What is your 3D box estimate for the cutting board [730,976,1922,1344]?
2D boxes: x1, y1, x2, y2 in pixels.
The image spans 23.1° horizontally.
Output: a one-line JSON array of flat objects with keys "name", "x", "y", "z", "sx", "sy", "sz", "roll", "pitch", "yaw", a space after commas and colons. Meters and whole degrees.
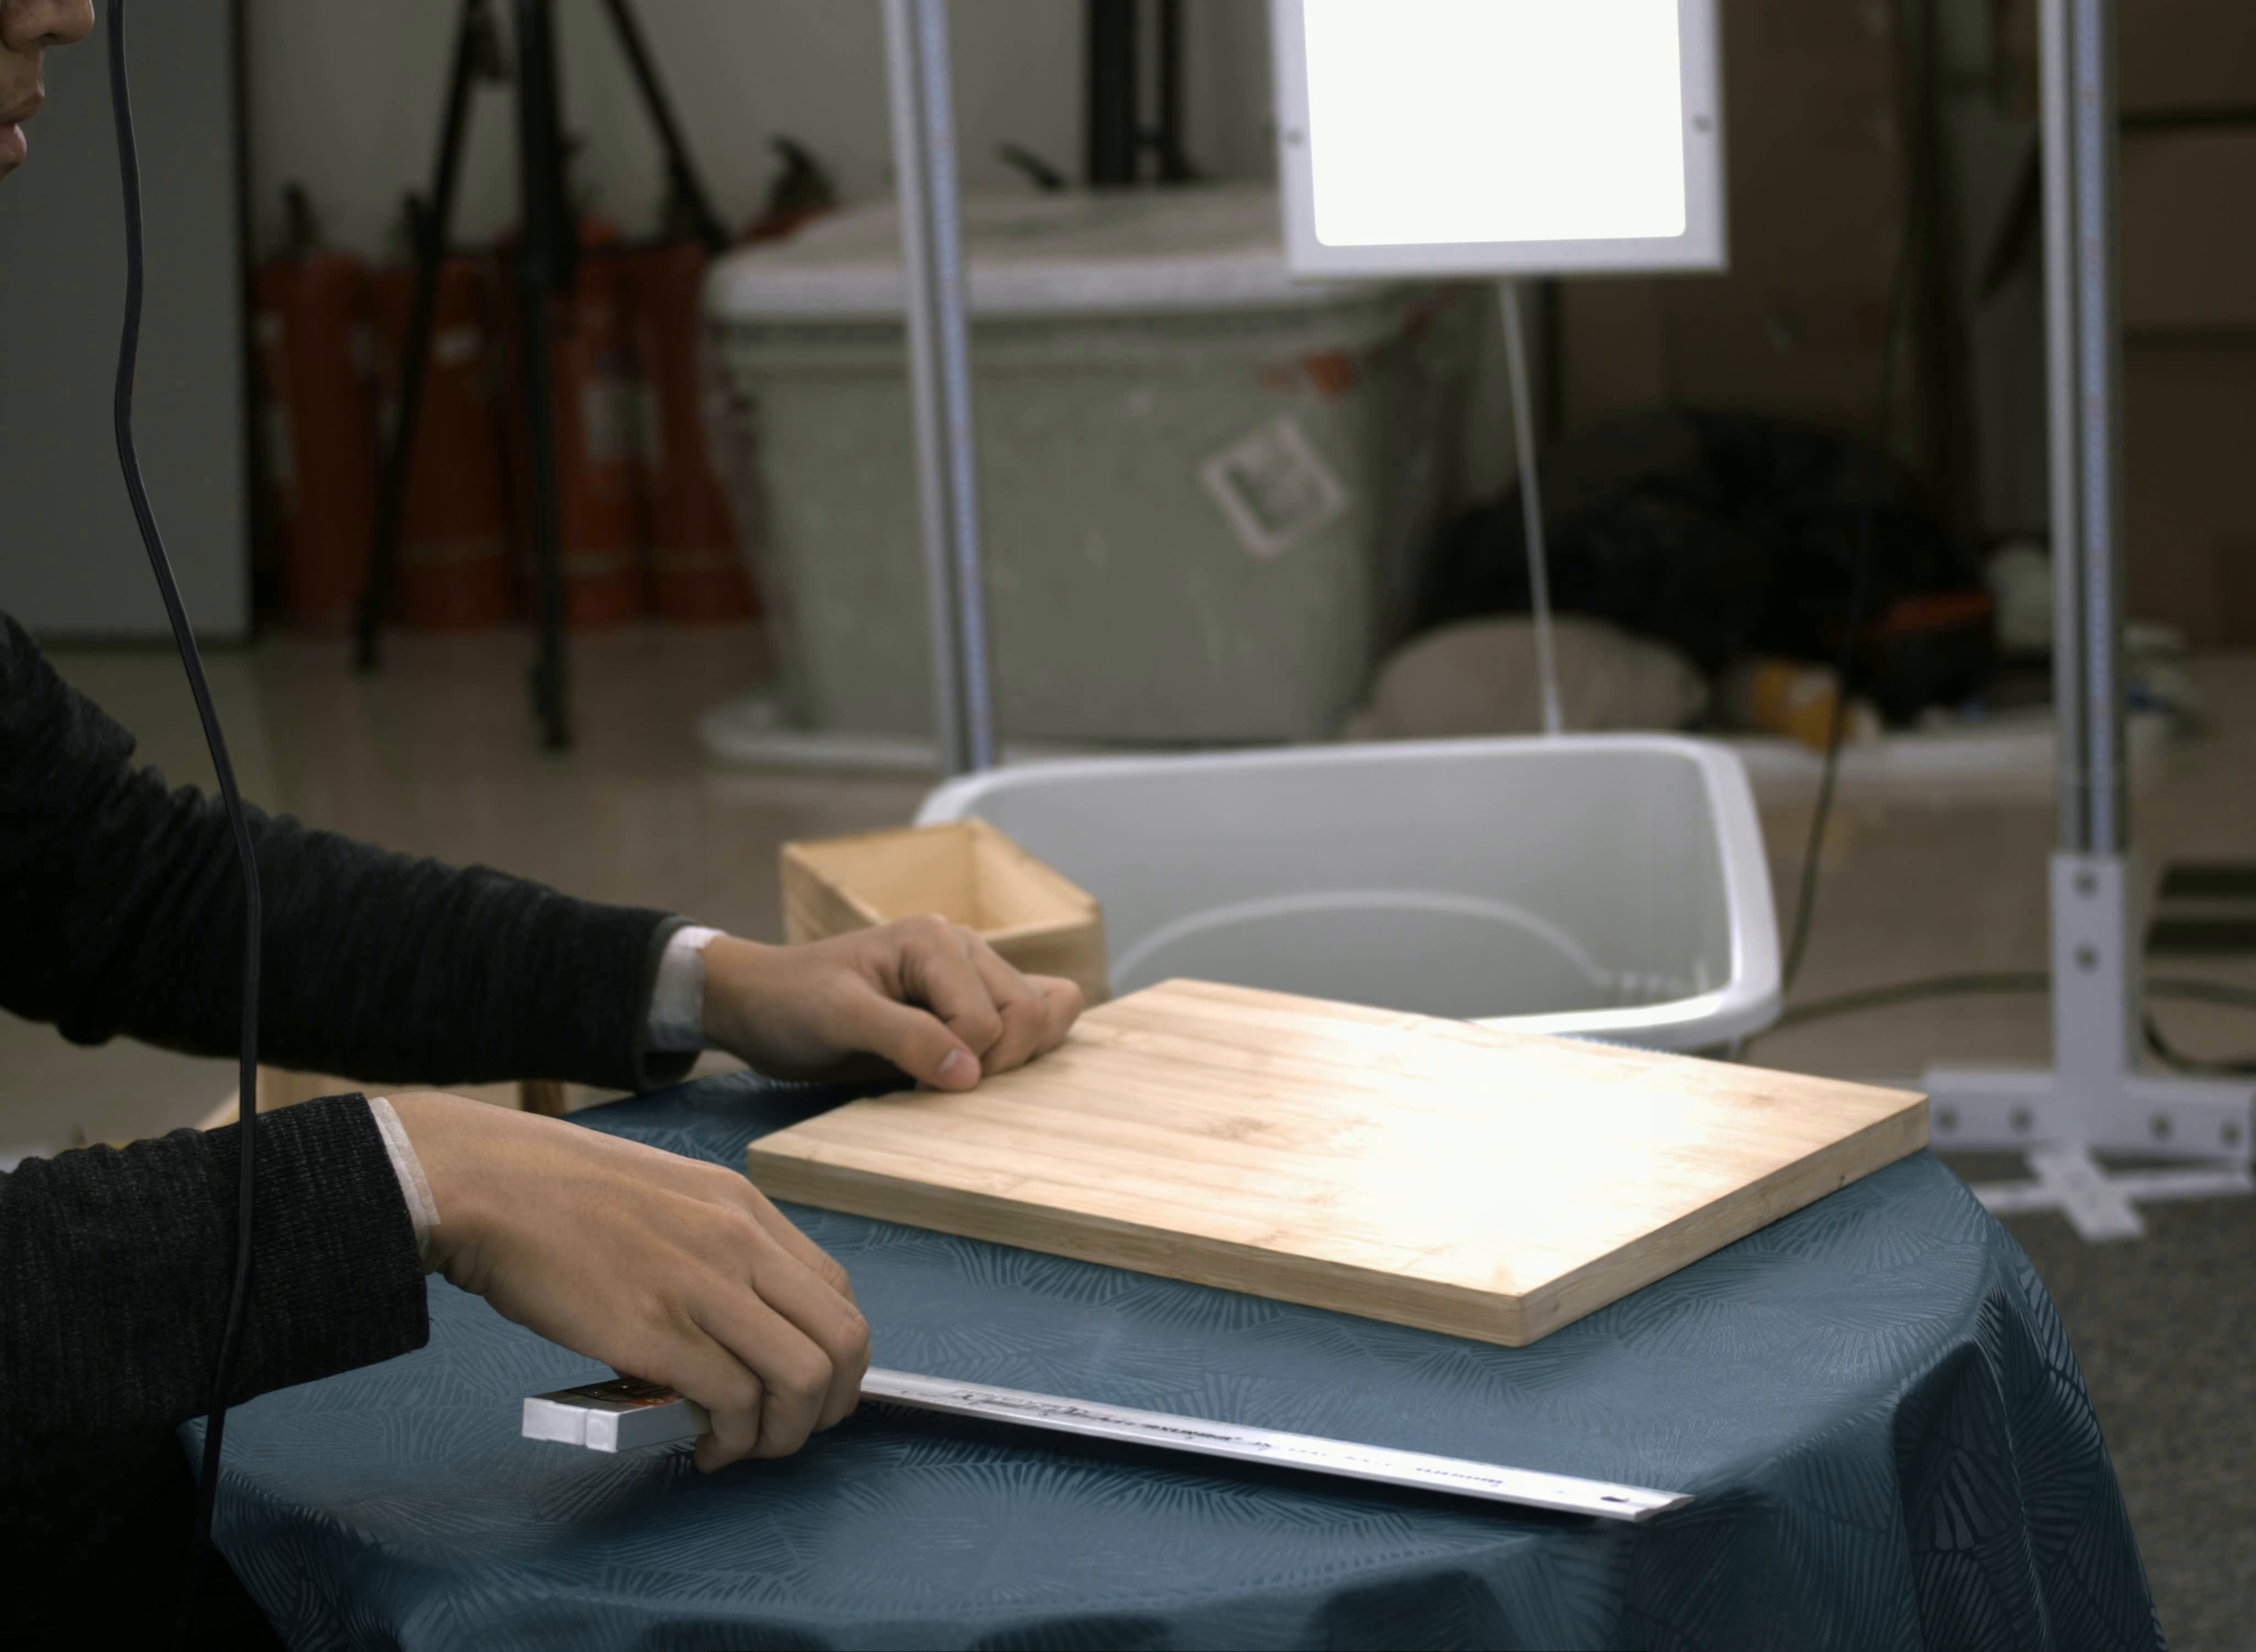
[{"name": "cutting board", "x": 0.067, "y": 0.110, "z": 1.907, "sx": 0.356, "sy": 0.023, "sz": 0.244, "roll": 7, "pitch": 18, "yaw": 40}]

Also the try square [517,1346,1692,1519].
[{"name": "try square", "x": -0.009, "y": 0.182, "z": 1.596, "sx": 0.319, "sy": 0.016, "sz": 0.149, "roll": 5, "pitch": 4, "yaw": 33}]
